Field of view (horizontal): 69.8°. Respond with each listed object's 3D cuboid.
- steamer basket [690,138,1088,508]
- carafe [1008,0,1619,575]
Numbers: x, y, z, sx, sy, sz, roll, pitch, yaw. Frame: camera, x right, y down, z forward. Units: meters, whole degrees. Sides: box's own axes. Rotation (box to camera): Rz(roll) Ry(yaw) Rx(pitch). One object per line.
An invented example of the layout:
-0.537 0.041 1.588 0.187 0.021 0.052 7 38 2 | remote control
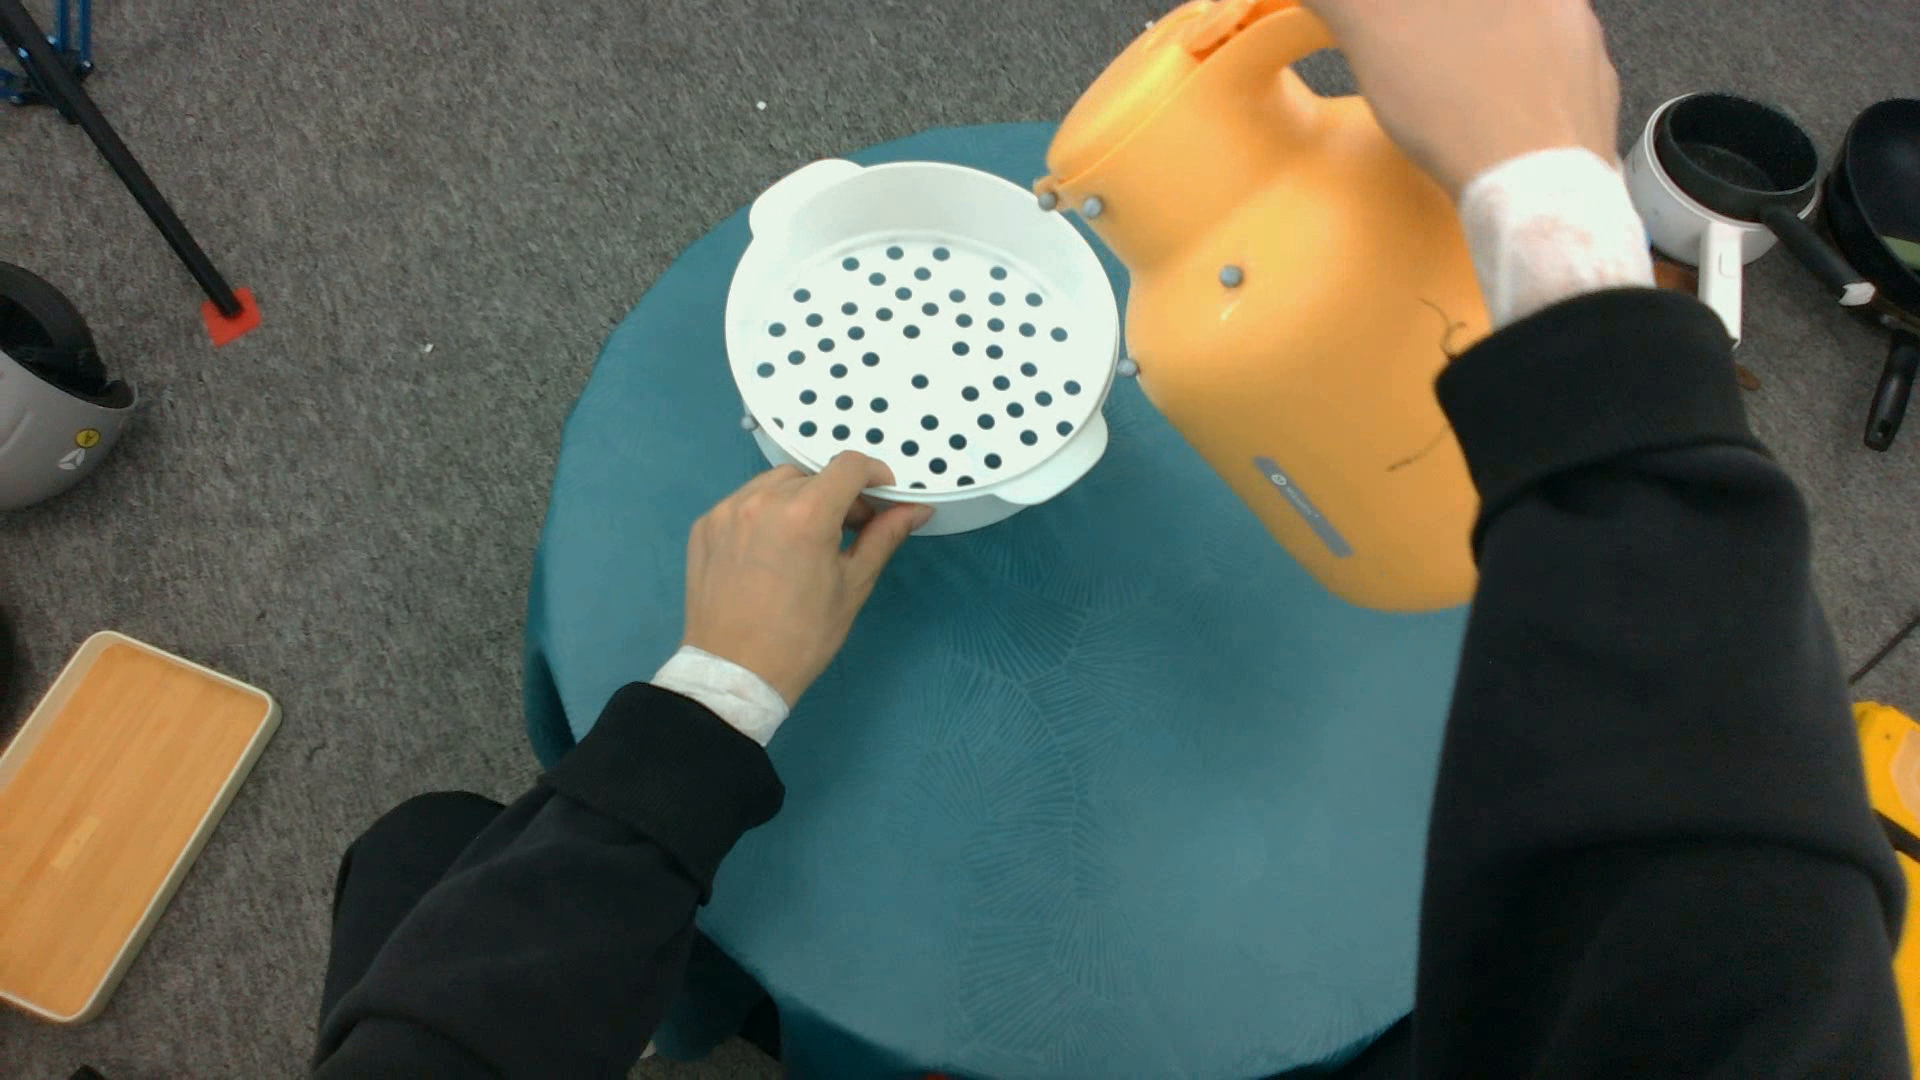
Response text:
-0.036 -0.113 0.722 0.202 0.069 0.231 -38 71 -19 | steamer basket
0.151 -0.115 0.565 0.260 0.201 0.164 39 65 -19 | carafe
